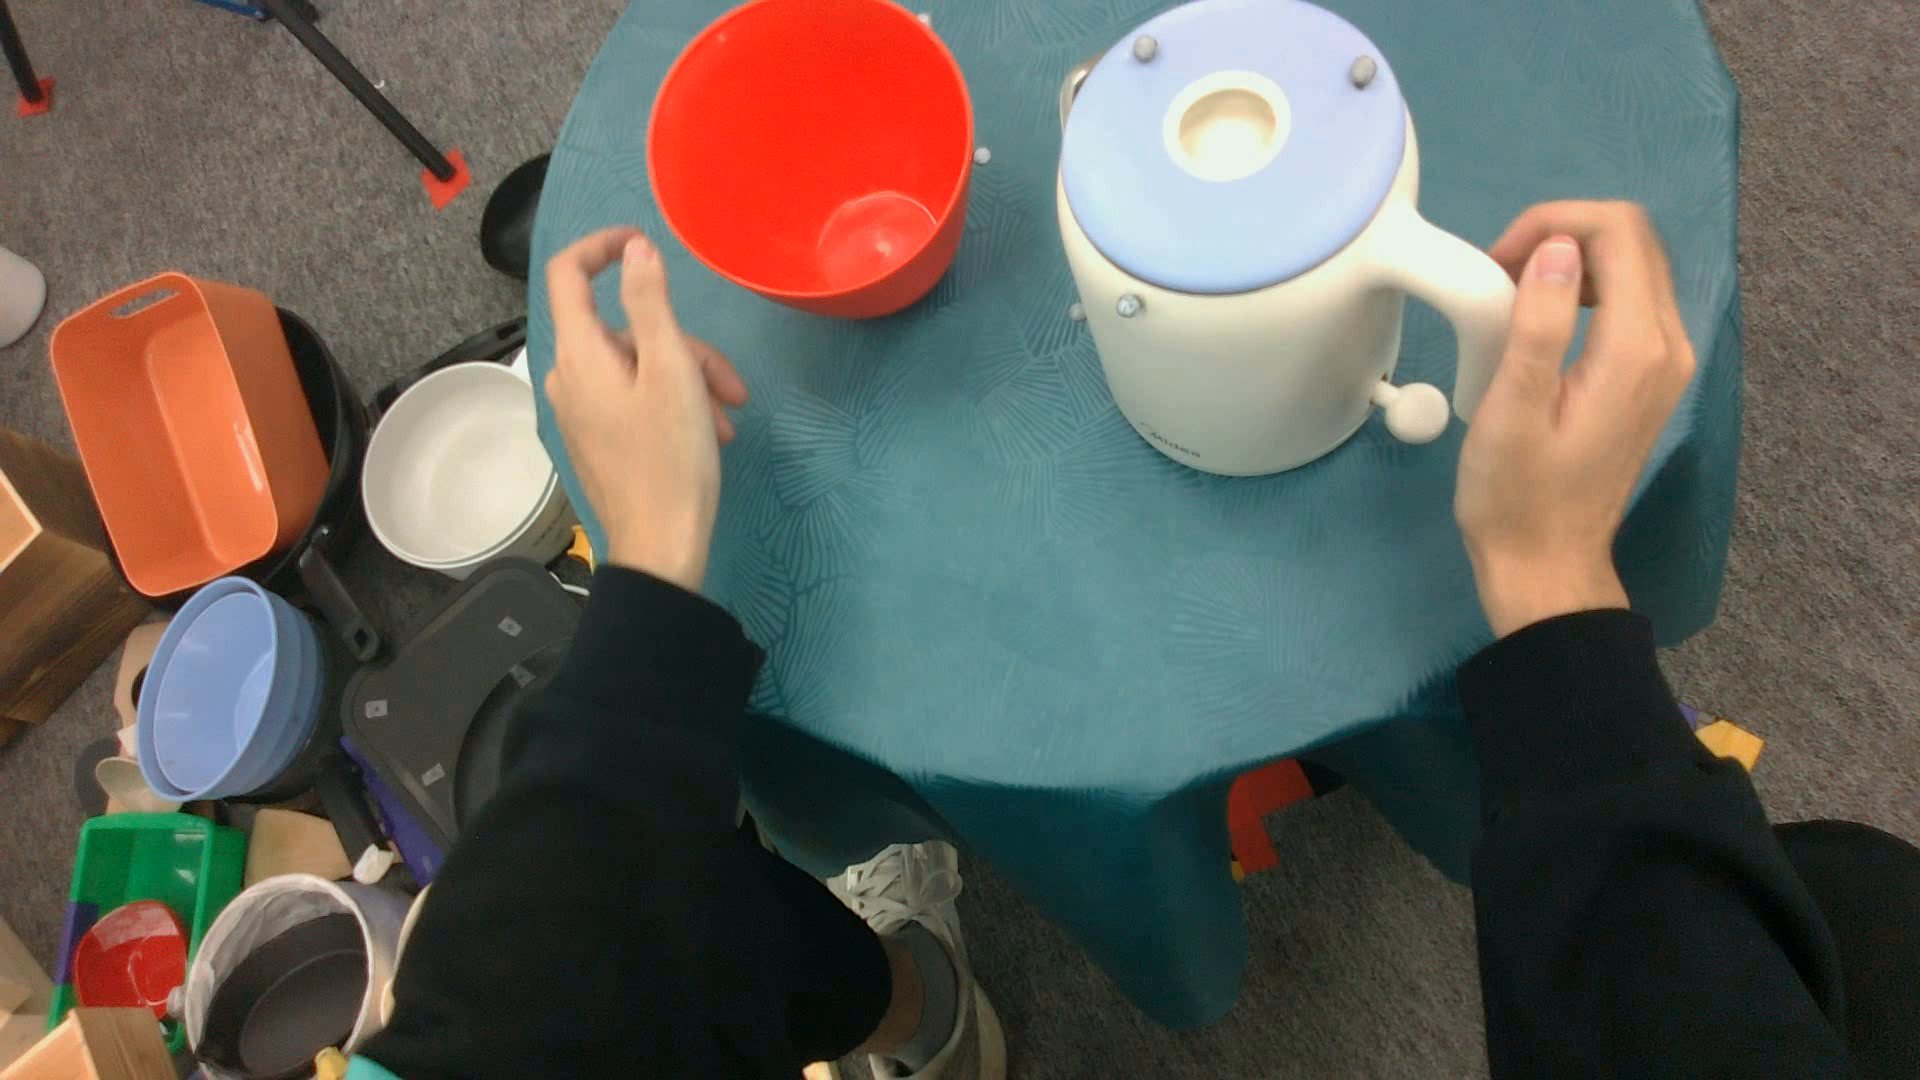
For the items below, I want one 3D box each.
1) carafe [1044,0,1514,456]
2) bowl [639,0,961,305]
[{"bbox_3d":[0.128,-0.110,0.555,0.191,0.182,0.132,28,81,18],"label":"carafe"},{"bbox_3d":[-0.064,-0.174,0.658,0.148,0.104,0.148,-4,70,12],"label":"bowl"}]
